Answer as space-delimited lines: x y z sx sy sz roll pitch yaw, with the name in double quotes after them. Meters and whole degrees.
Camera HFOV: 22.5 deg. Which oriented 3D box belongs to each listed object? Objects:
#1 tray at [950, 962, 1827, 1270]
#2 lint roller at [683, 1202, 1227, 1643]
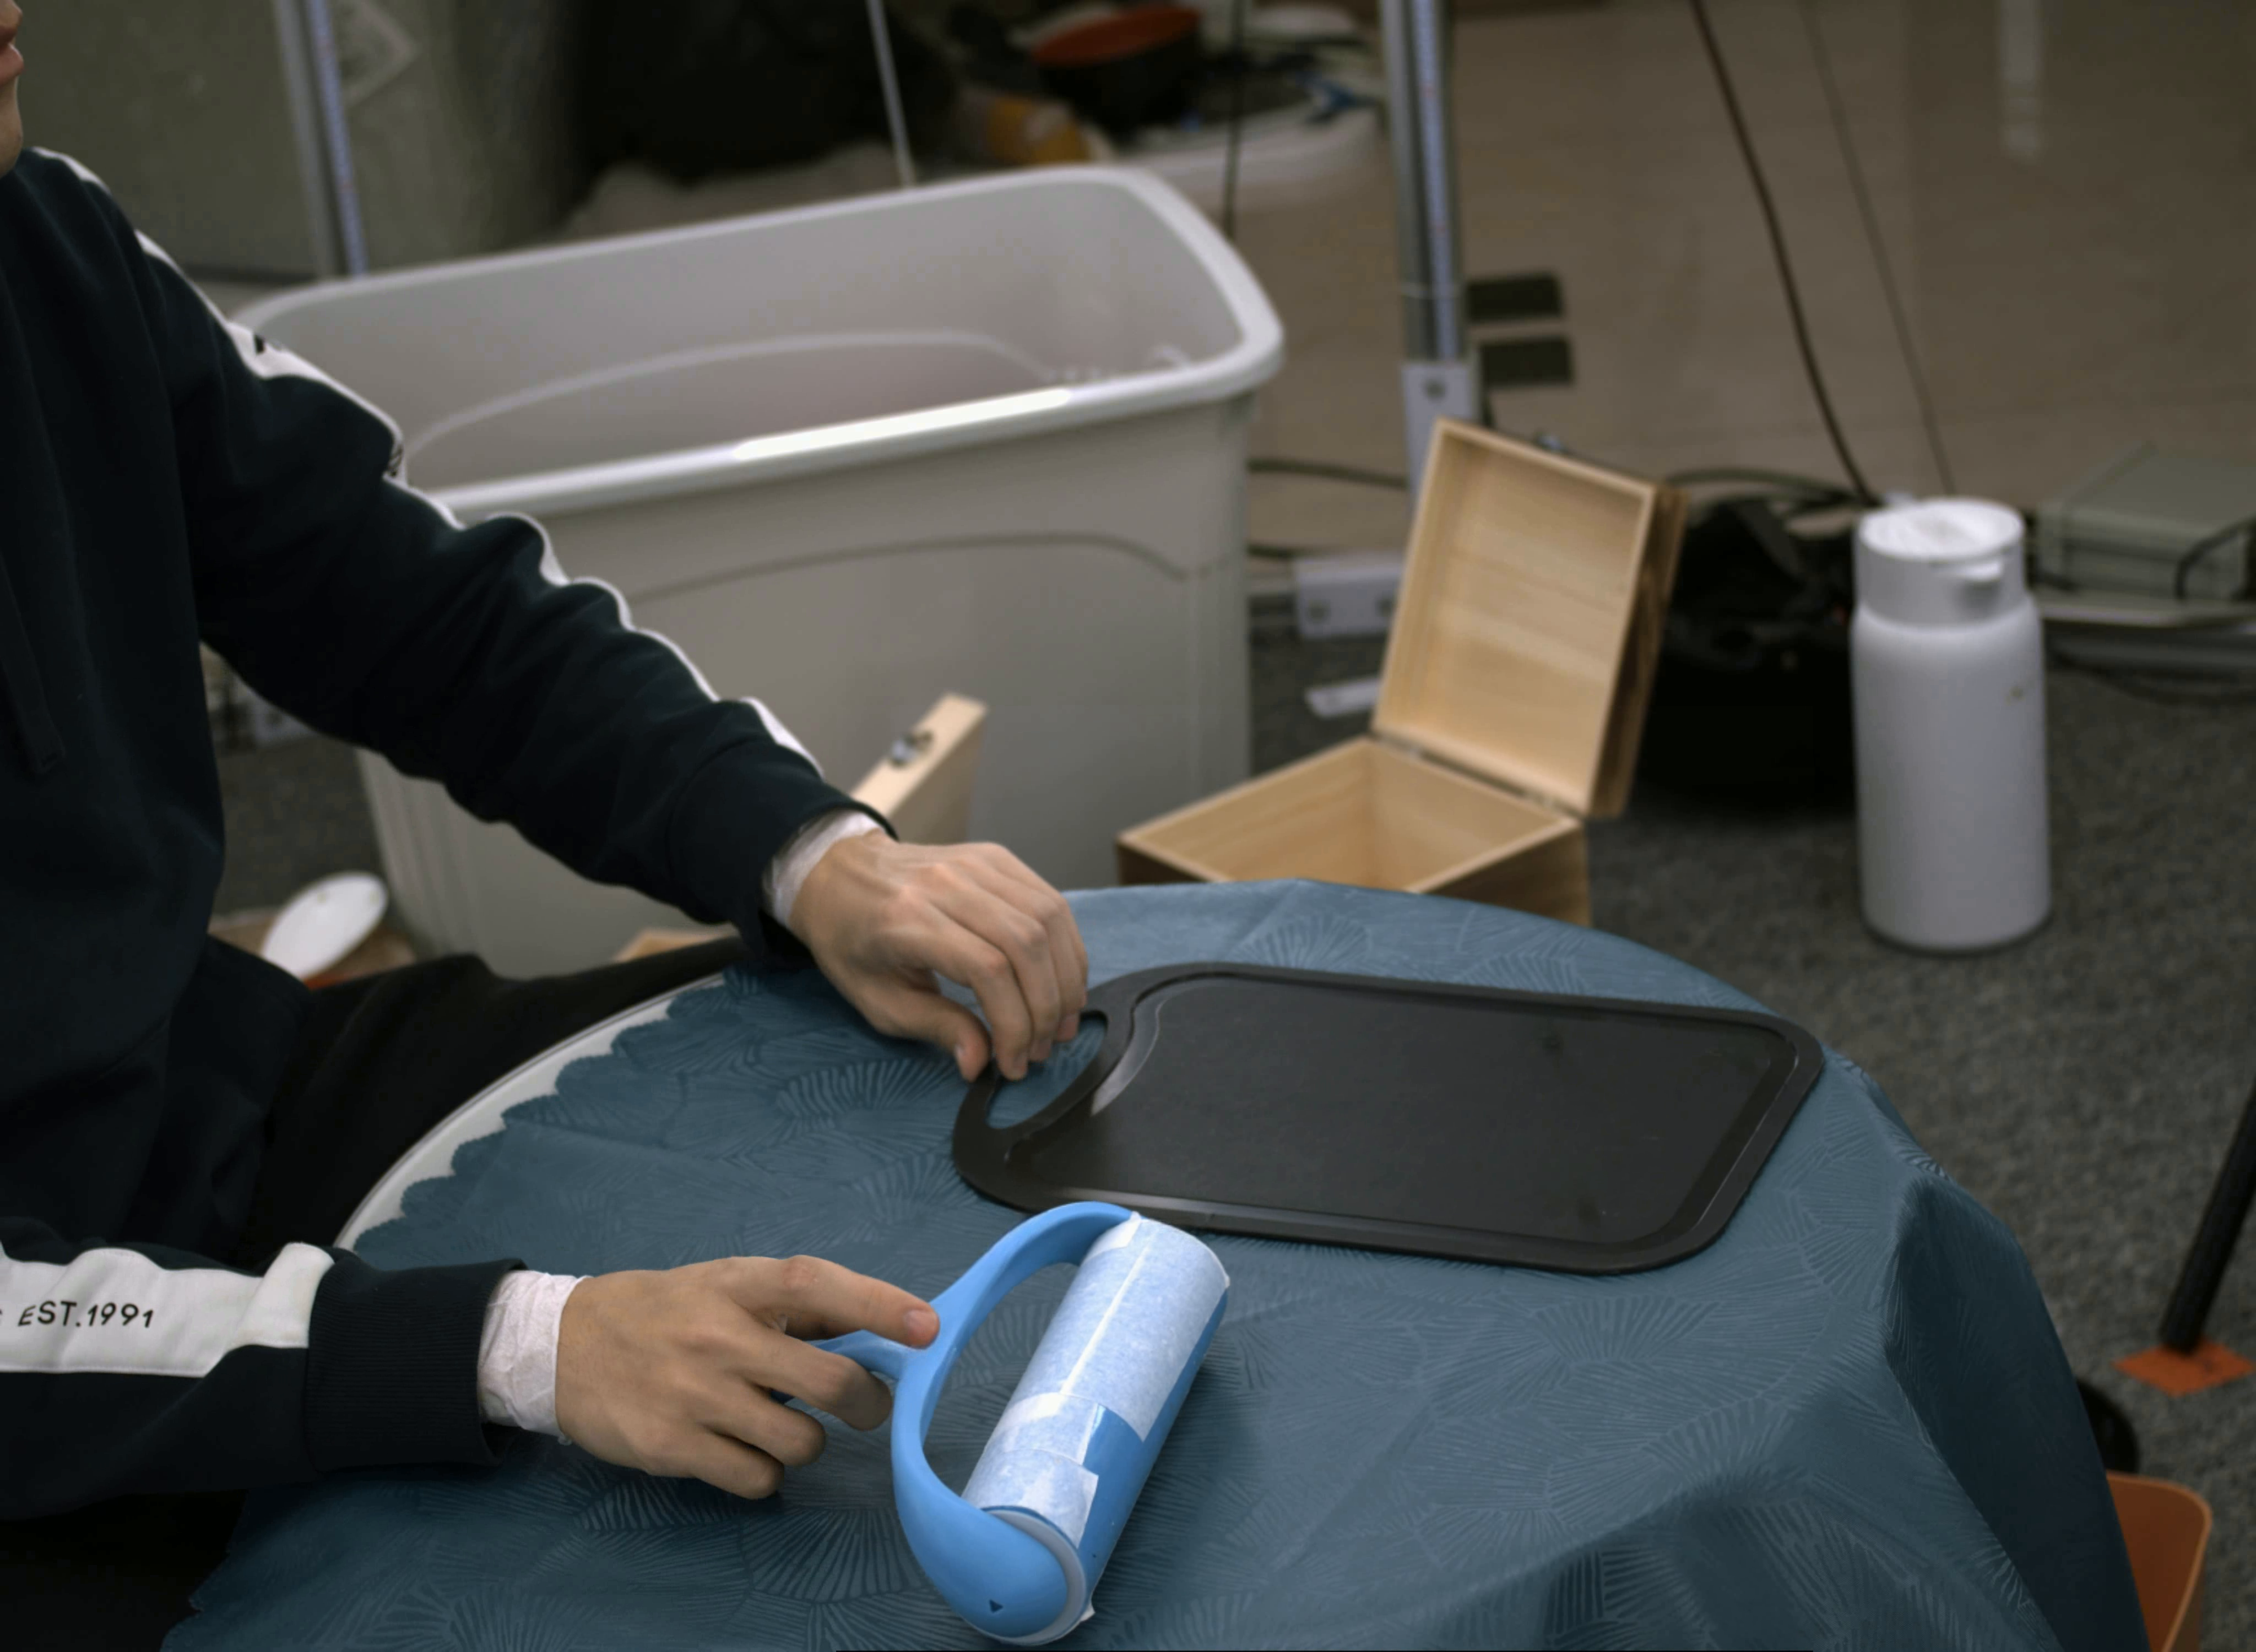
0.093 0.107 2.181 0.324 0.010 0.208 5 27 24 "tray"
-0.071 0.203 1.957 0.180 0.069 0.225 1 28 13 "lint roller"
